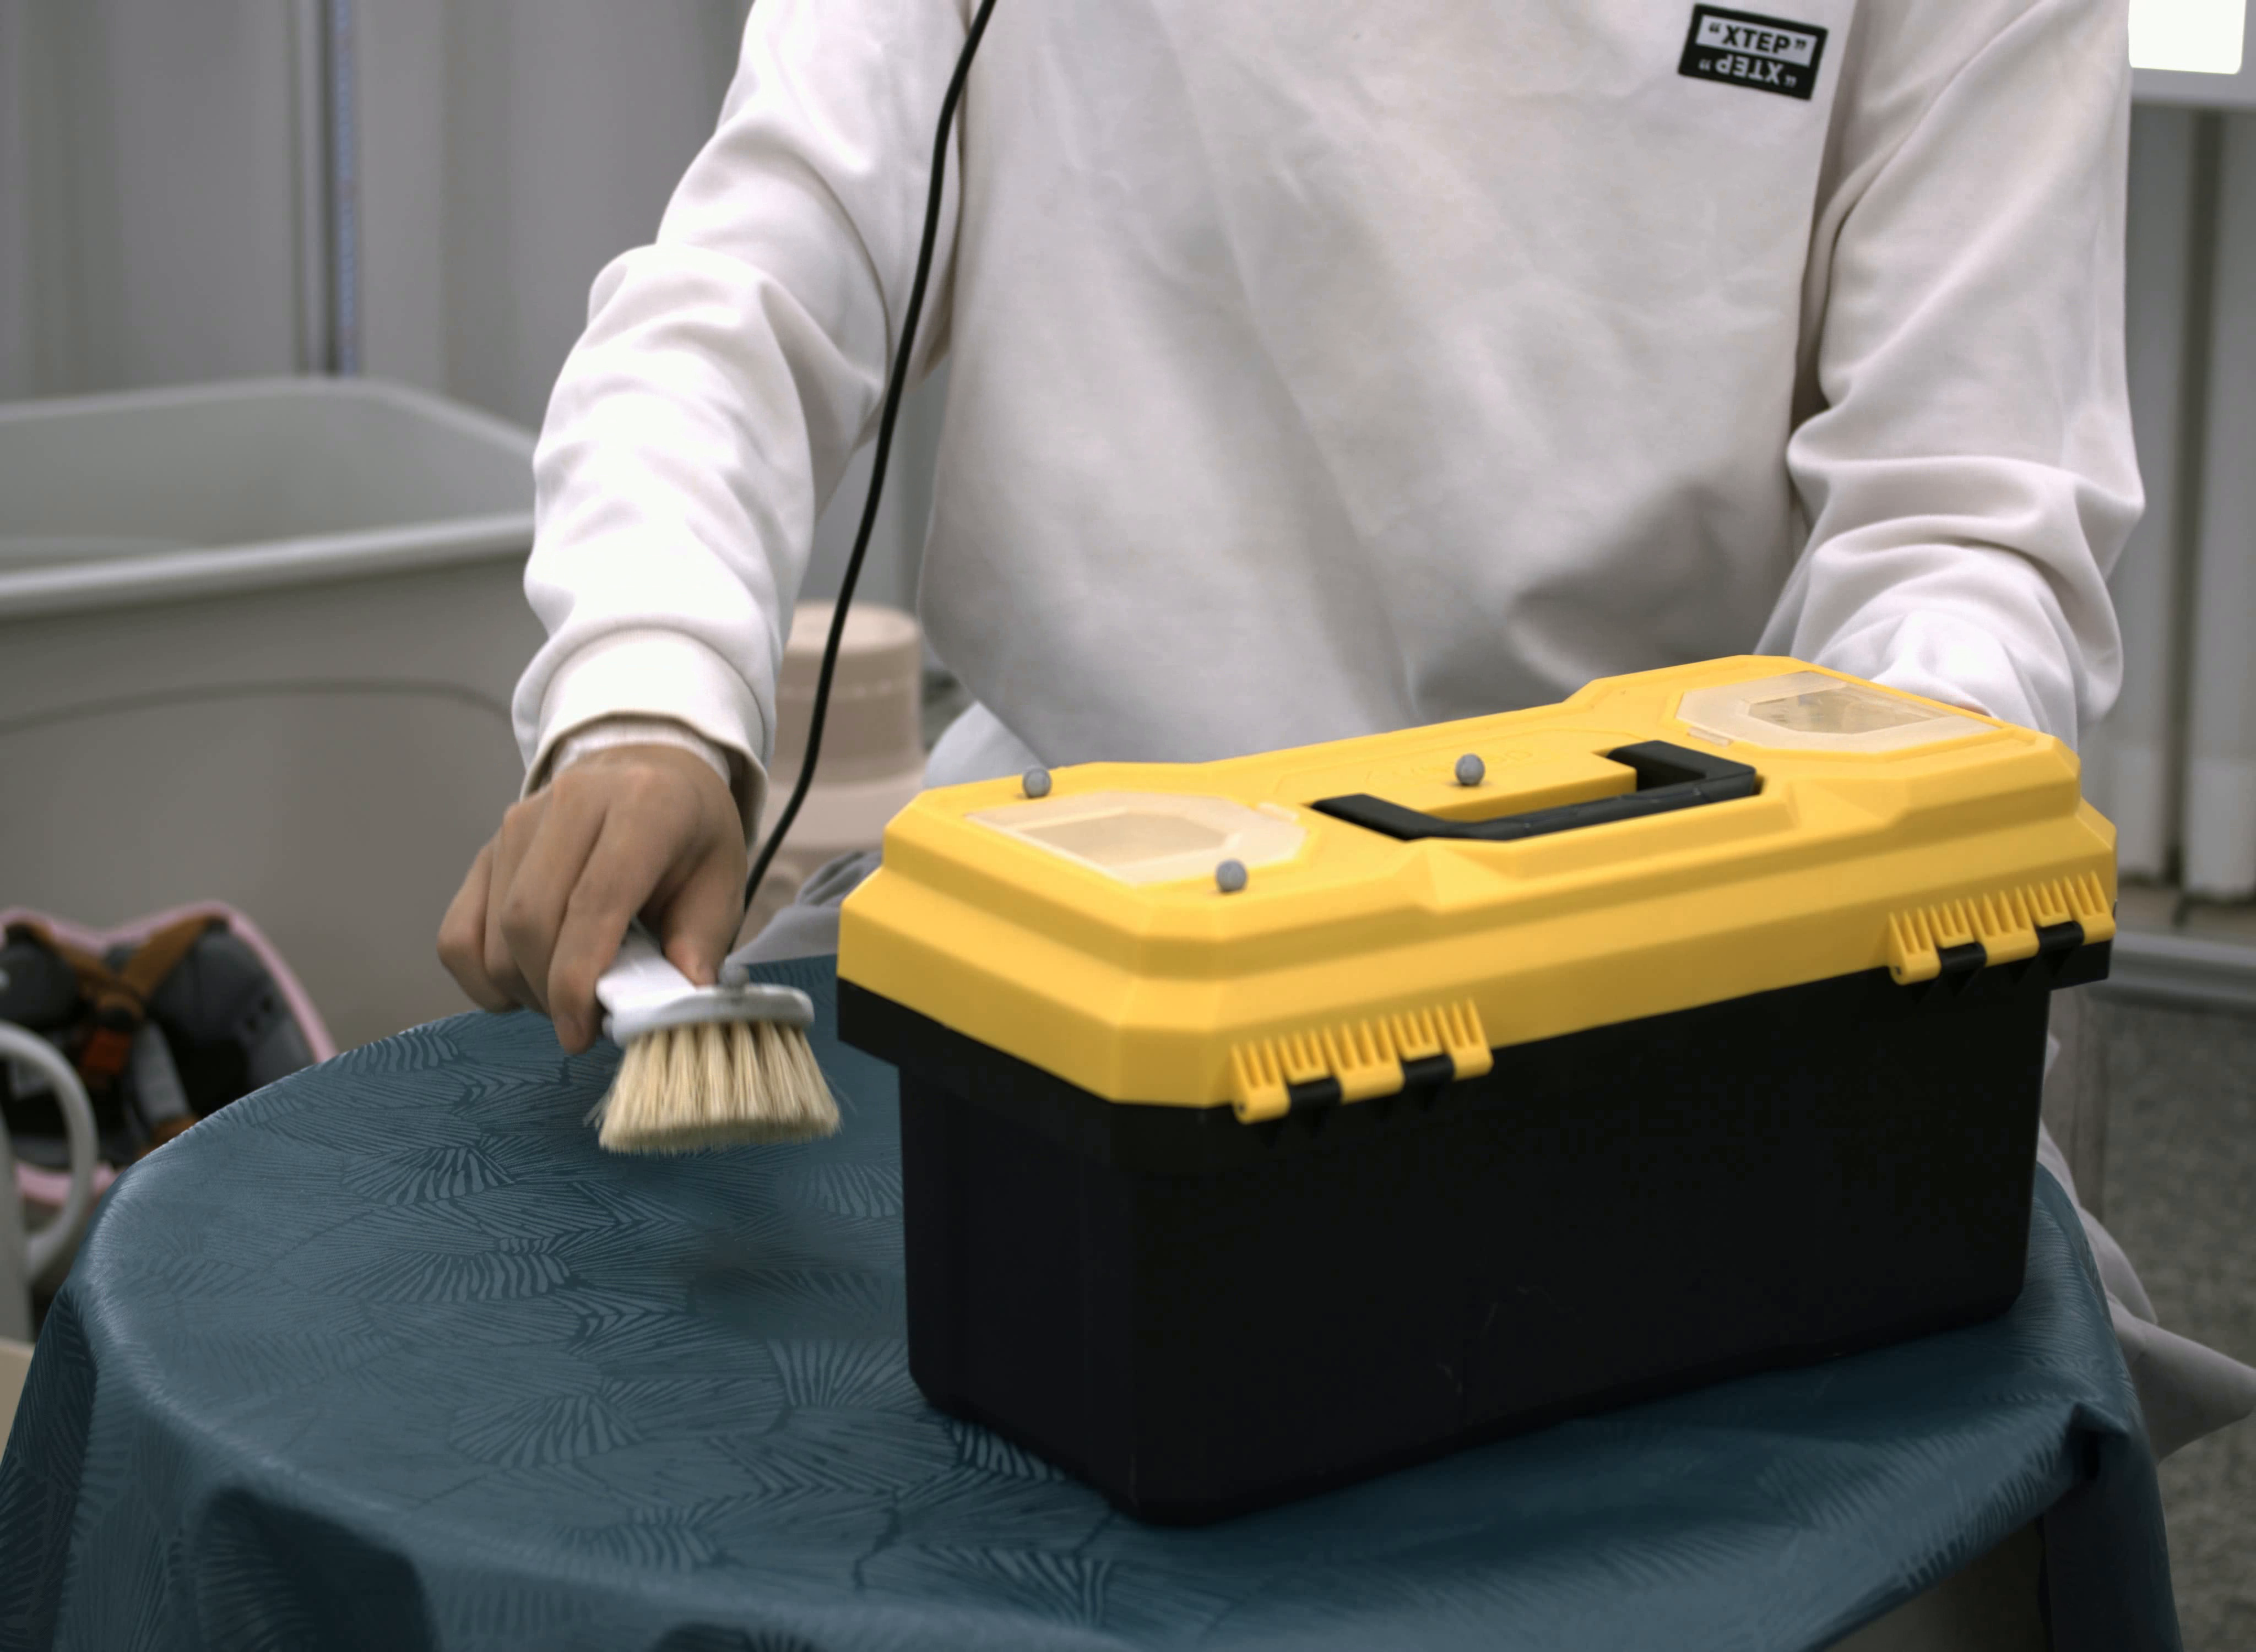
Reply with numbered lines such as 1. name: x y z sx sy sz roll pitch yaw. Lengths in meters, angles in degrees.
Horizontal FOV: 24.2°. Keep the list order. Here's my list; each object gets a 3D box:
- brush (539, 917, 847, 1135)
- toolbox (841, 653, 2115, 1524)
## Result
1. brush: -0.145 0.061 1.634 0.069 0.056 0.264 9 -2 -19
2. toolbox: 0.101 0.066 1.478 0.353 0.174 0.179 -9 20 -34
